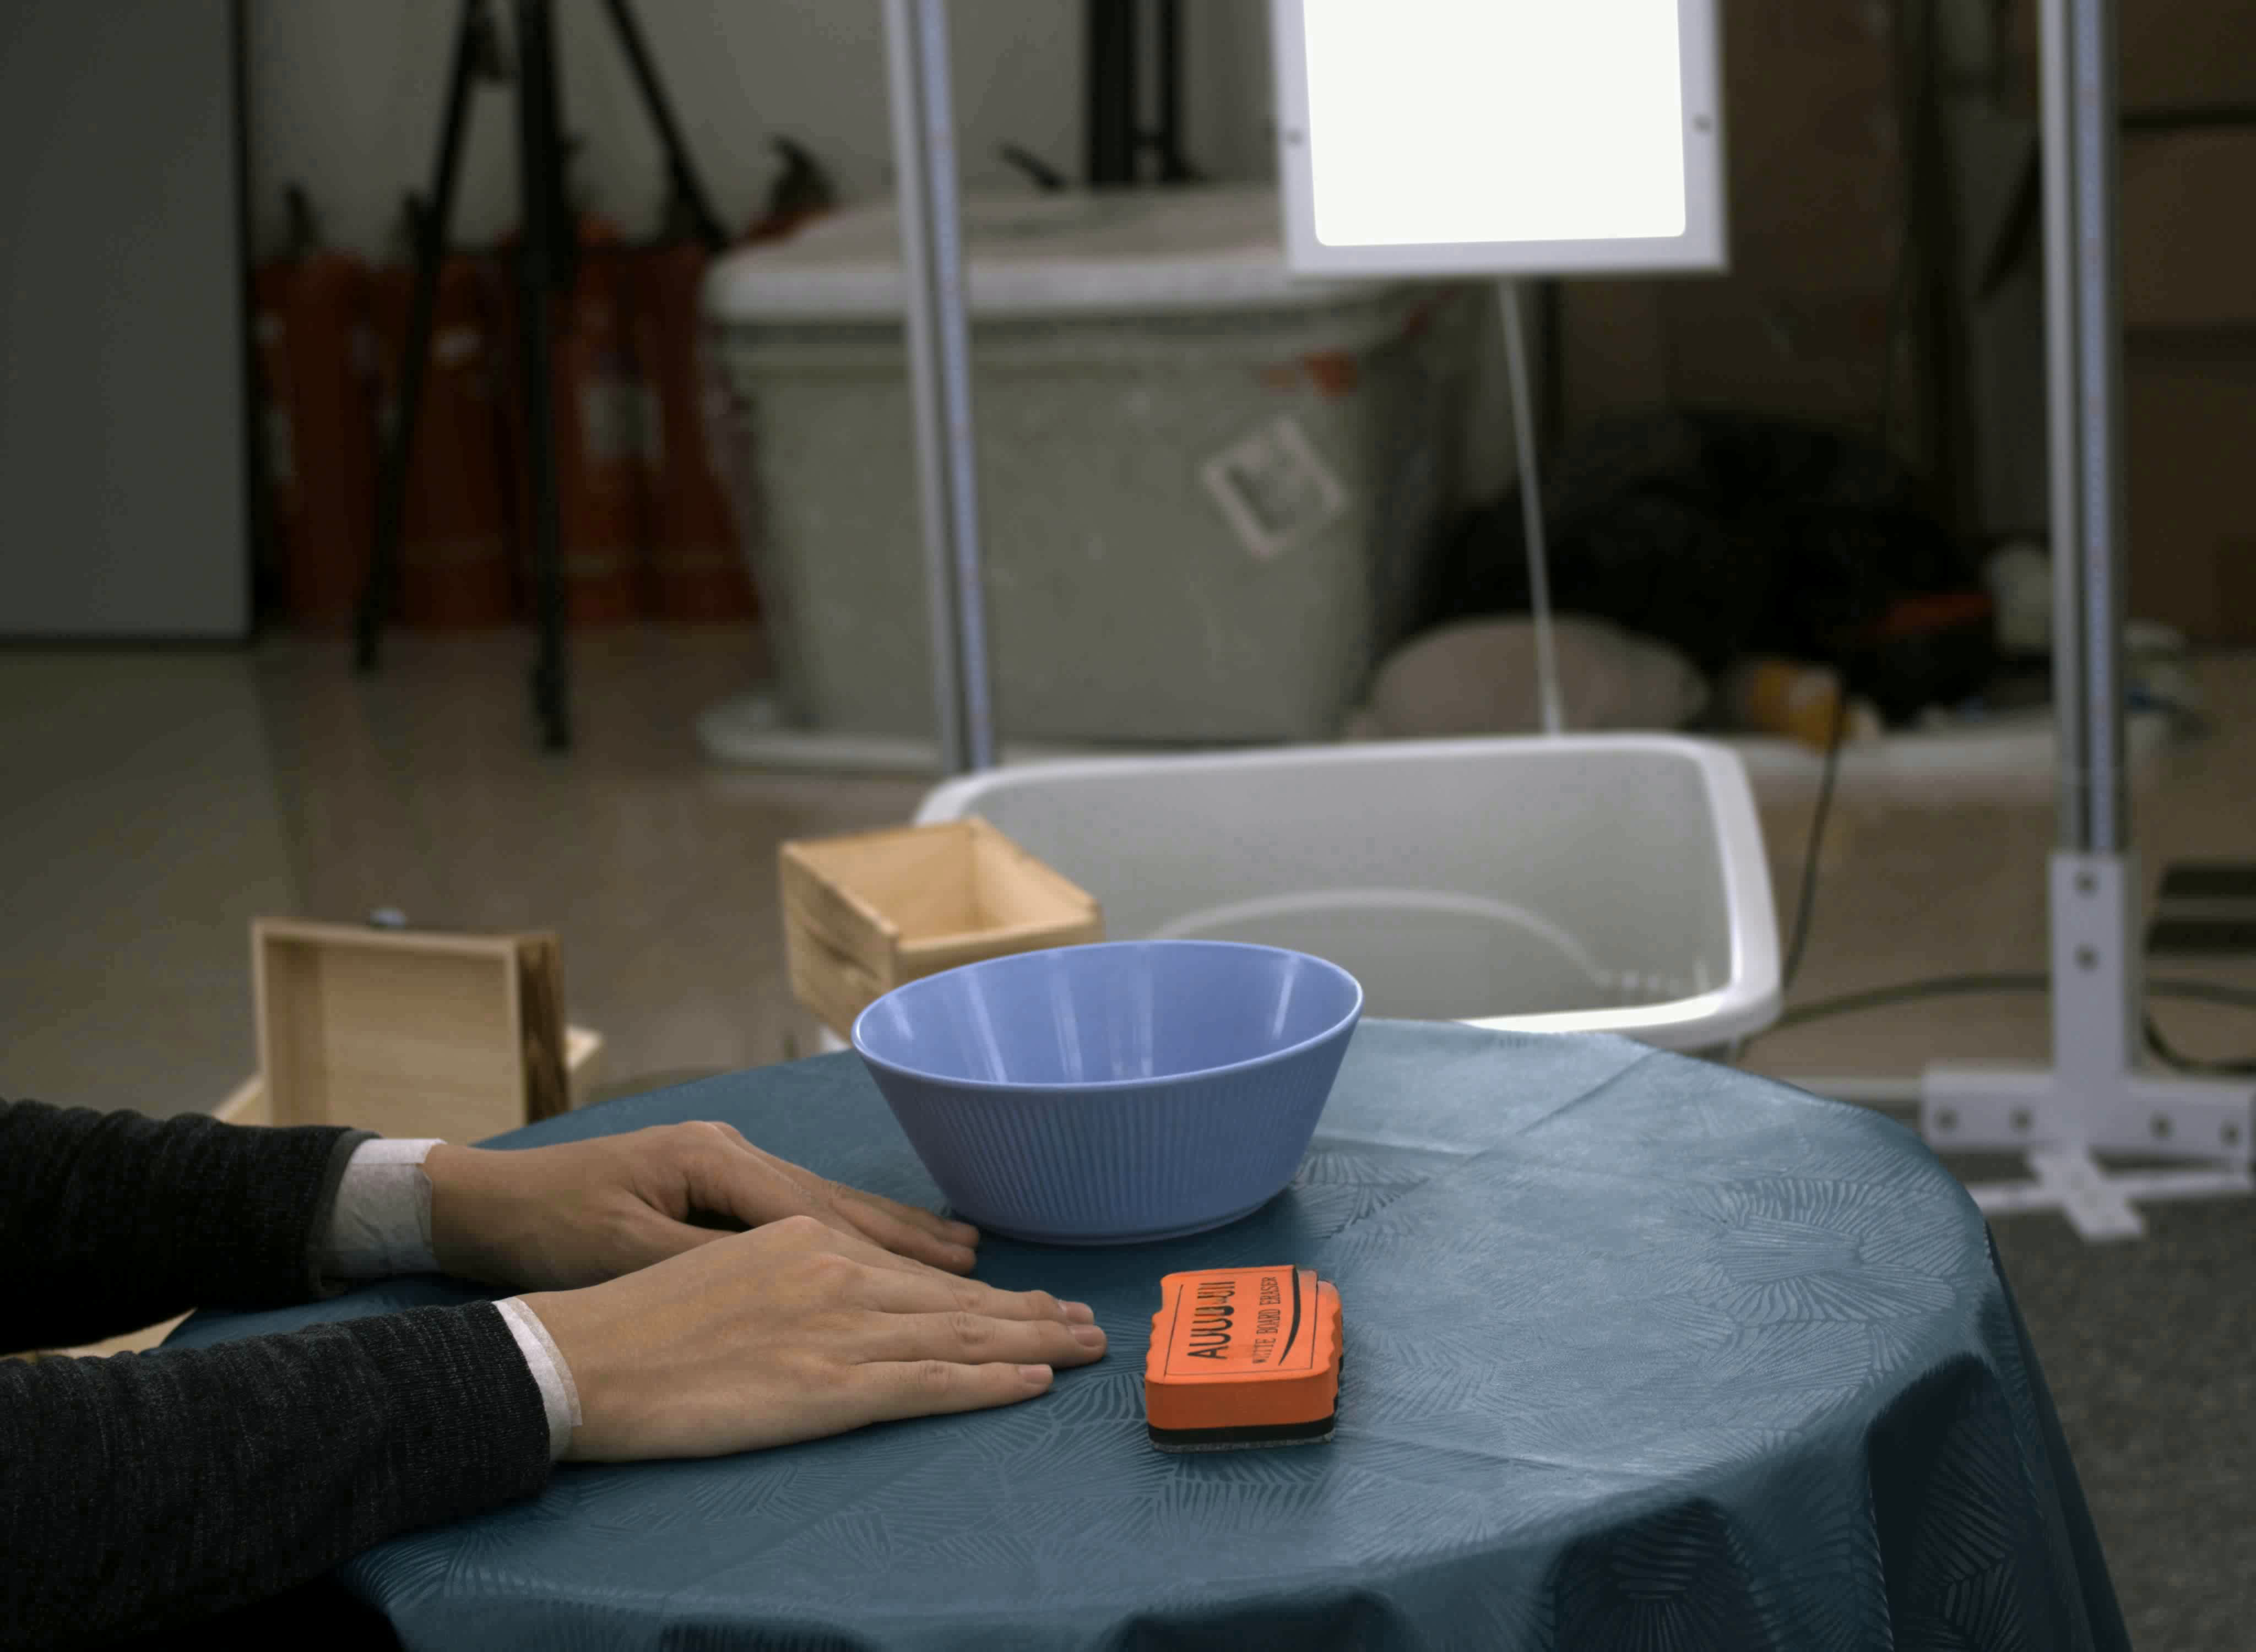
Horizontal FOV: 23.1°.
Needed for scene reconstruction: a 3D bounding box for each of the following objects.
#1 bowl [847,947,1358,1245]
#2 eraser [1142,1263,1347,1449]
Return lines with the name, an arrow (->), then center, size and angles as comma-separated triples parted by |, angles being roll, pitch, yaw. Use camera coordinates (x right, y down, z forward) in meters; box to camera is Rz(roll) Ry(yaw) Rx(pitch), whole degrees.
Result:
bowl -> -0.007, 0.094, 1.886 | 0.175, 0.070, 0.176 | -5, 14, 0
eraser -> 0.037, 0.162, 1.689 | 0.059, 0.023, 0.107 | -1, 15, 6
